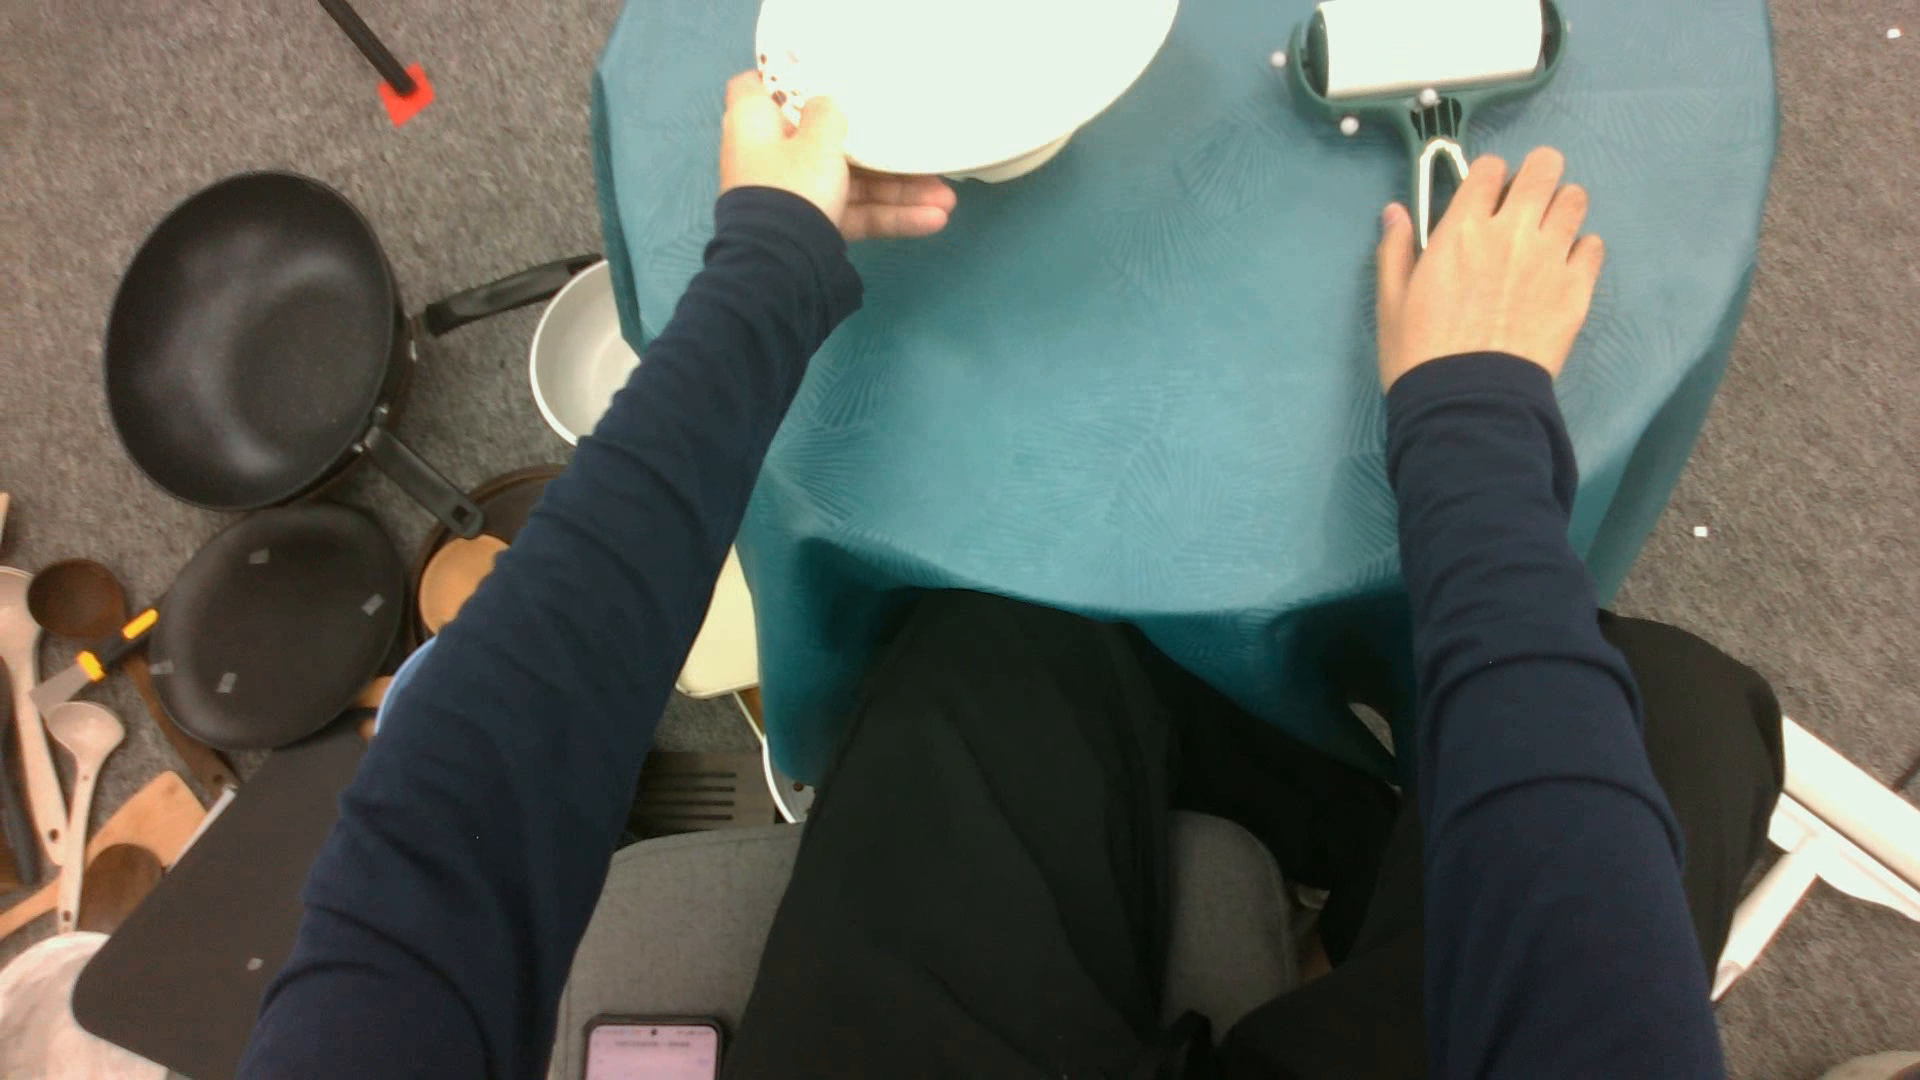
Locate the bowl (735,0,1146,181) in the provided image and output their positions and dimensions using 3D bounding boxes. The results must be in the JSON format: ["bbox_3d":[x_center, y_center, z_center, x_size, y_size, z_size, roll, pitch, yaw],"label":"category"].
[{"bbox_3d":[-0.001,-0.240,0.671,0.203,0.078,0.204,-6,66,15],"label":"bowl"}]

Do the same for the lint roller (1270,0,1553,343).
[{"bbox_3d":[0.227,-0.187,0.667,0.134,0.048,0.180,-6,75,3],"label":"lint roller"}]
